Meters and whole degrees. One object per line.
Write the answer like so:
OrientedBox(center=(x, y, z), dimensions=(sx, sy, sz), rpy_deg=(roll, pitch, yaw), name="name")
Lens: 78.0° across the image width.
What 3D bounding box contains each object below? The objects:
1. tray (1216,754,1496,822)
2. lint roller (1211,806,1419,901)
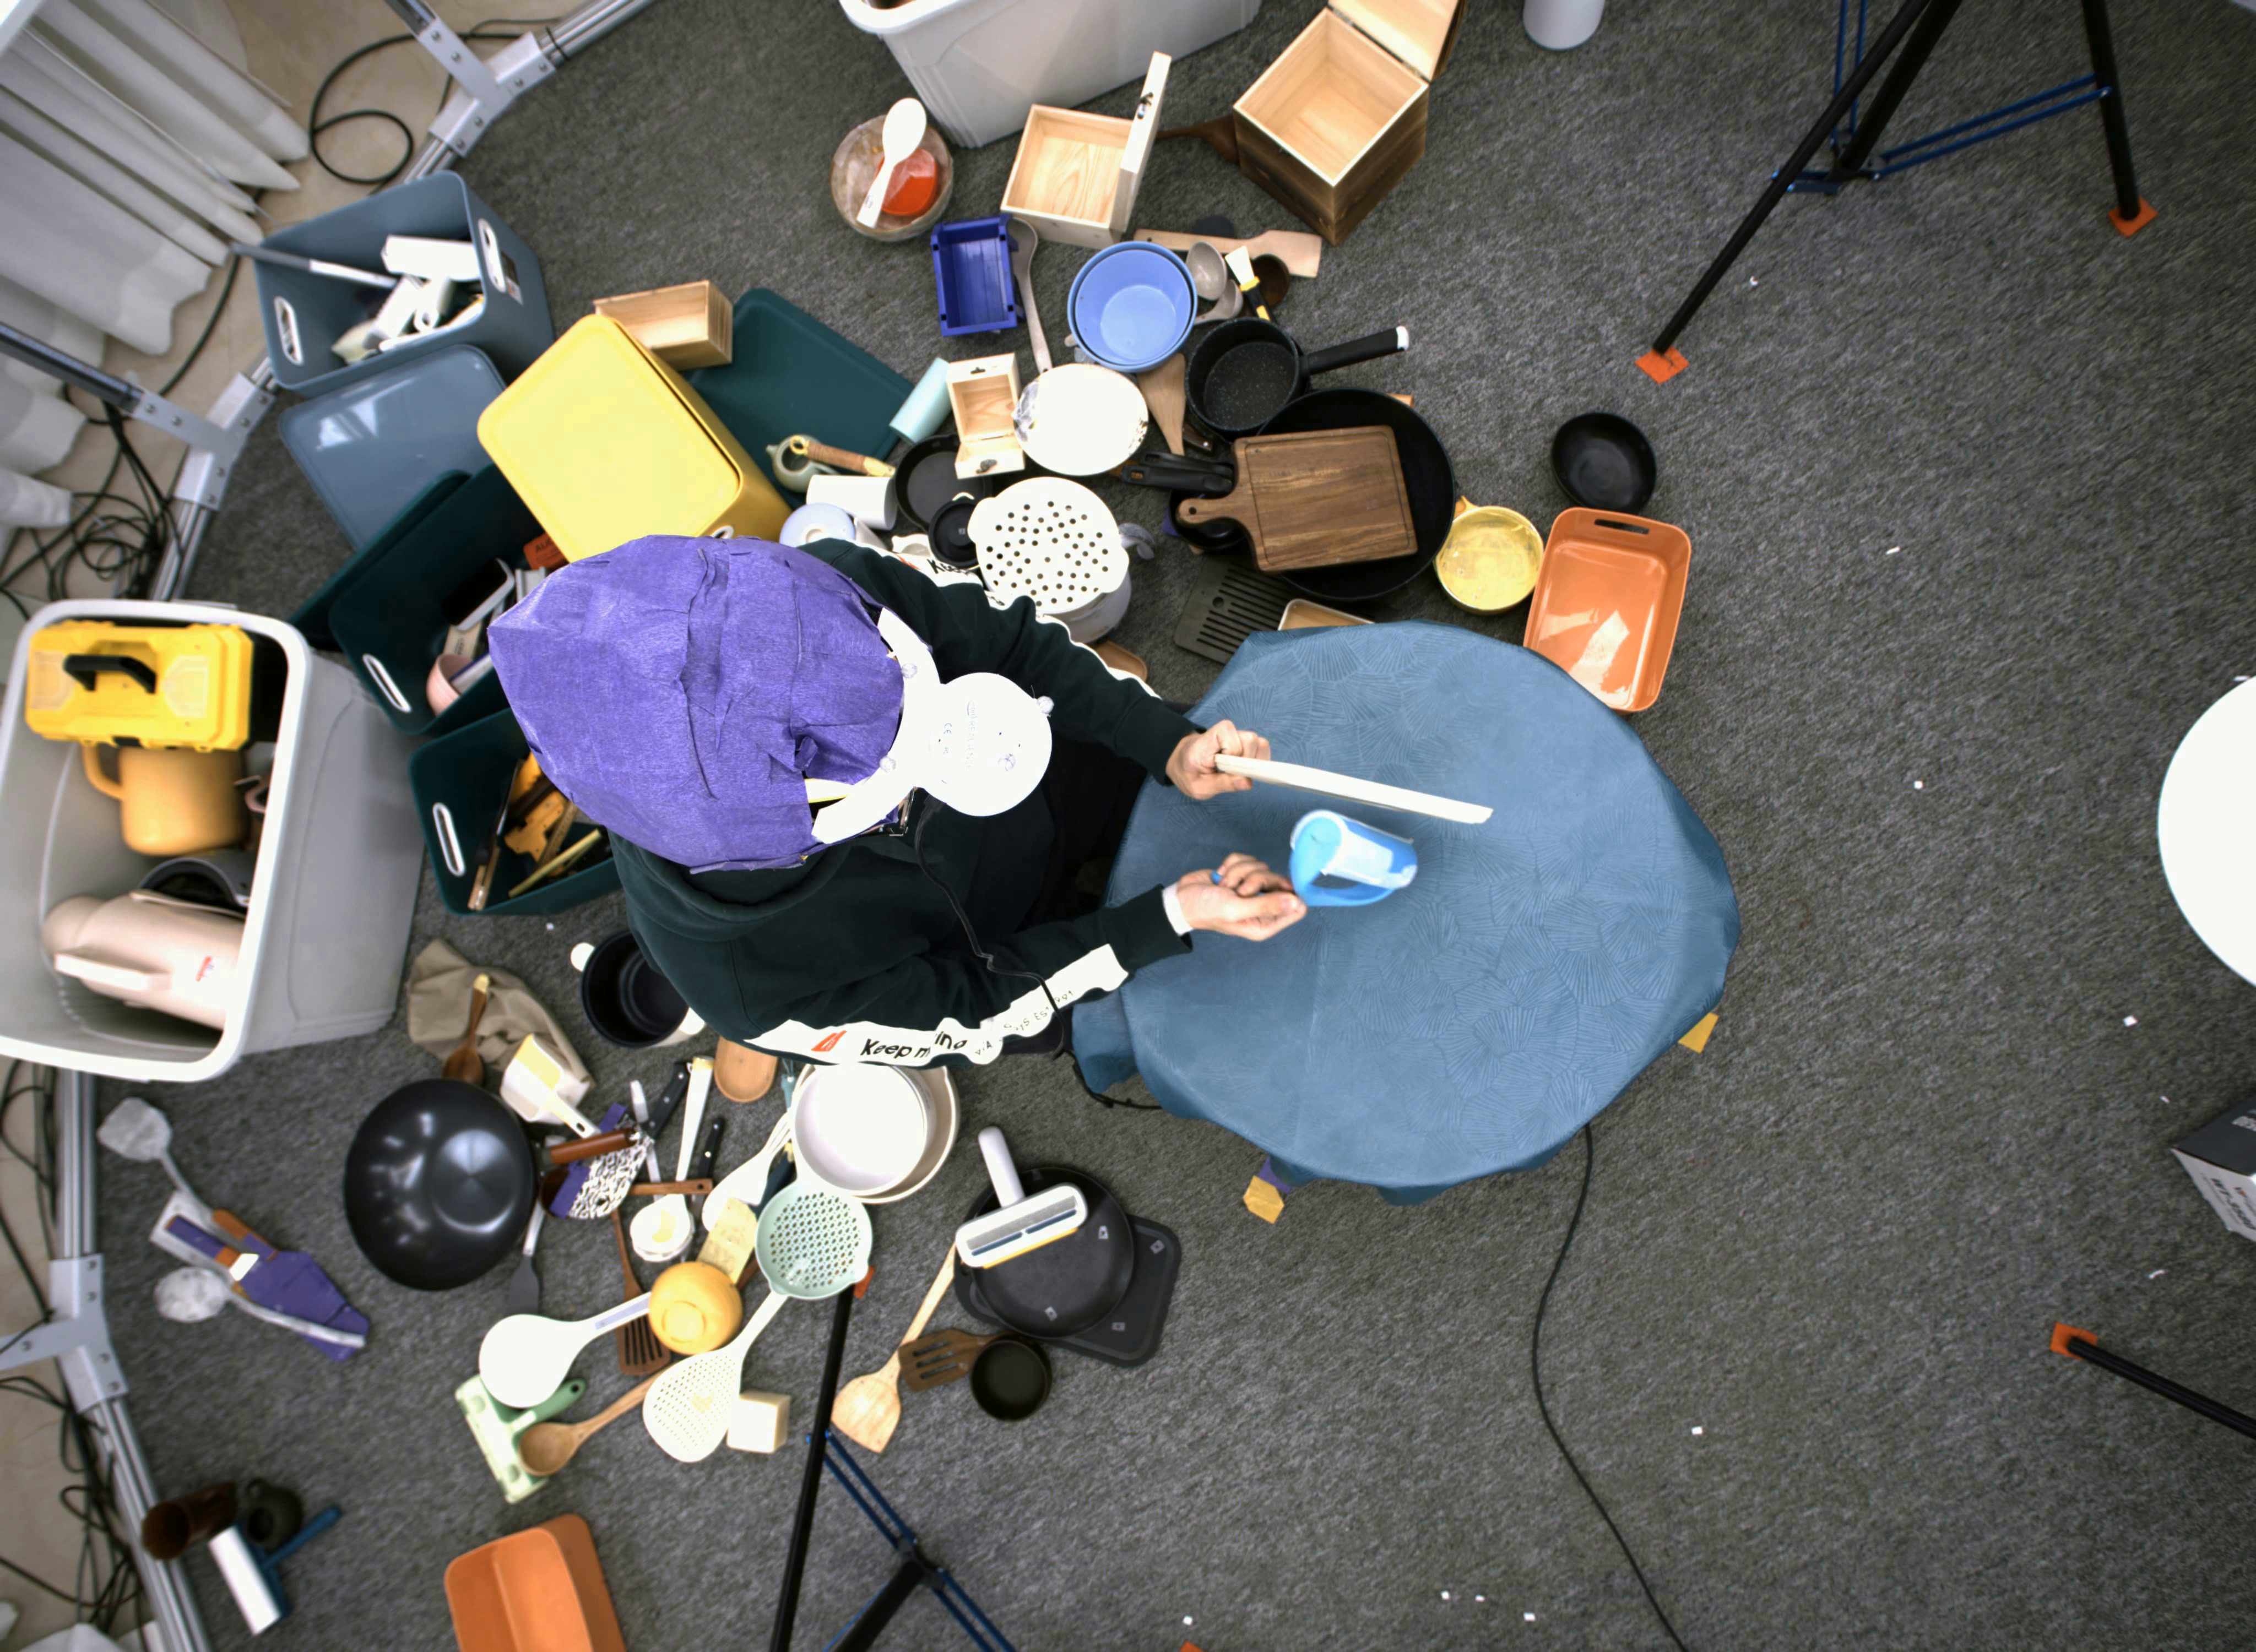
OrientedBox(center=(0.213, -0.036, 1.304), dimensions=(0.239, 0.171, 0.017), rpy_deg=(10, 91, -25), name="tray")
OrientedBox(center=(0.166, 0.041, 1.318), dimensions=(0.183, 0.228, 0.067), rpy_deg=(-22, 74, 29), name="lint roller")
